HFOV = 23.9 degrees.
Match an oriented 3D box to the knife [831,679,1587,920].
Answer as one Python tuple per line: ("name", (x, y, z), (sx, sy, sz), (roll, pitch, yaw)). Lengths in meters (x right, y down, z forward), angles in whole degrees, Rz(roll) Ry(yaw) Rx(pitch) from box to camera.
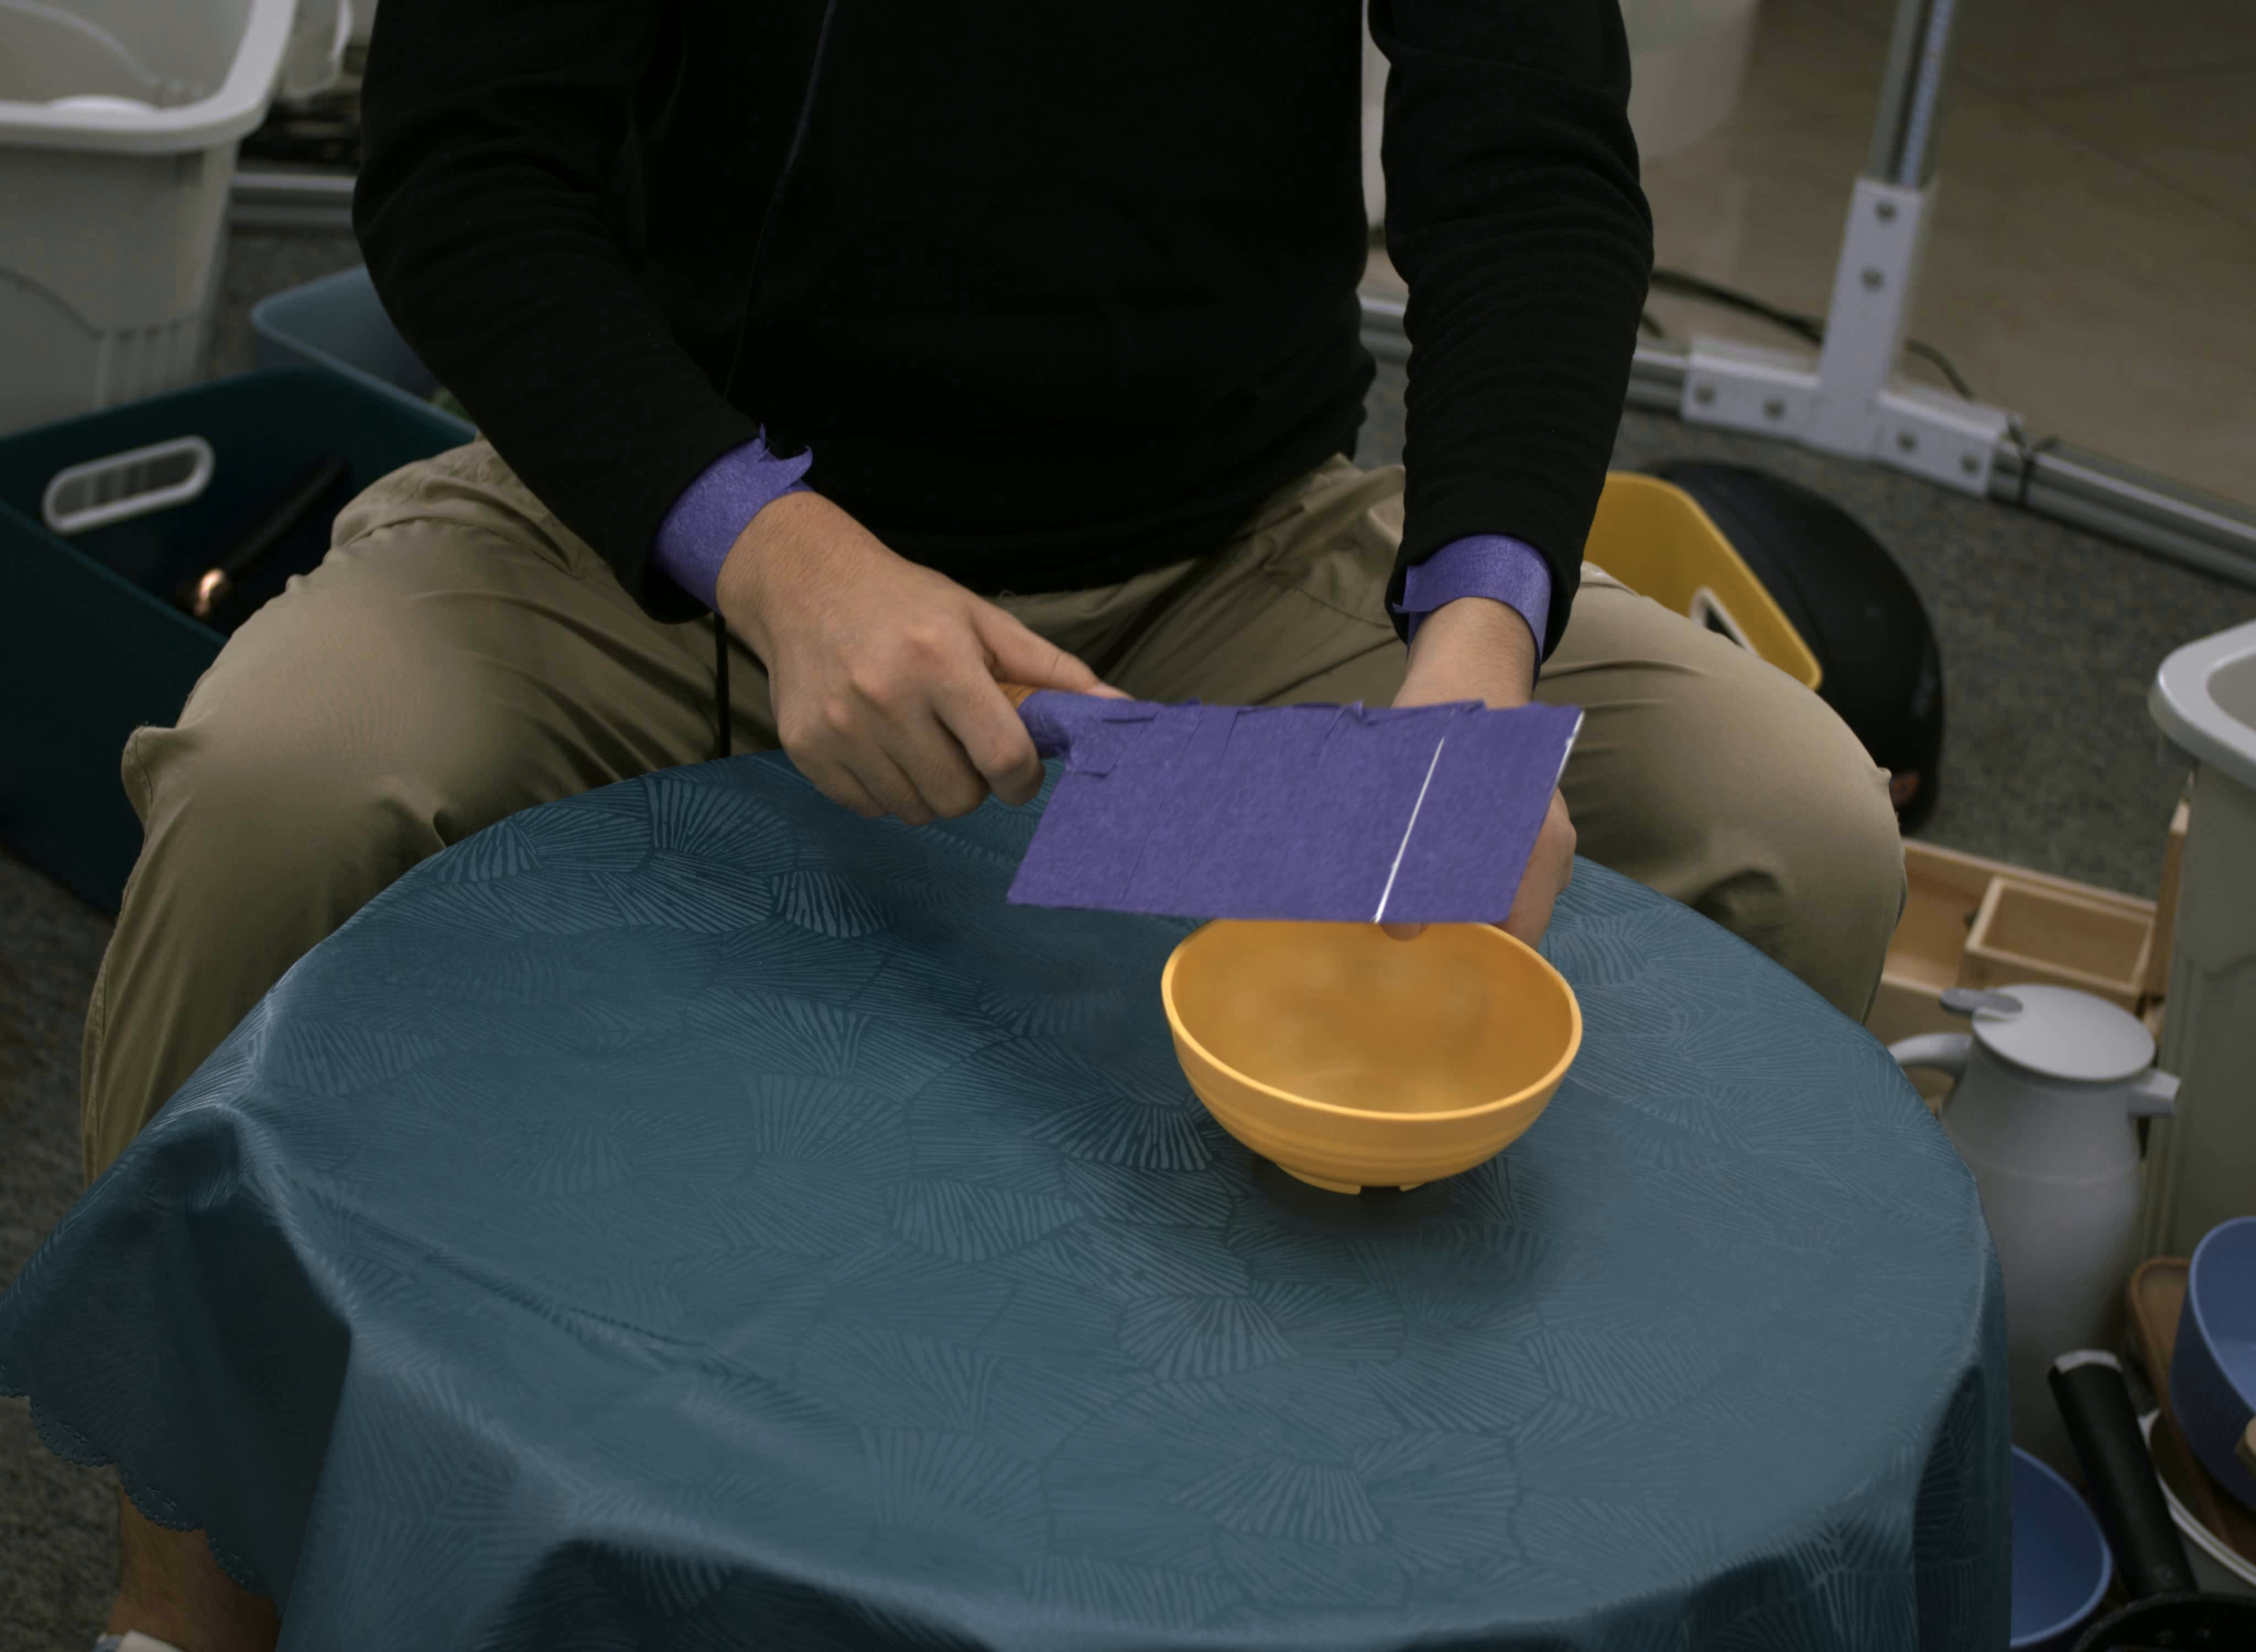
("knife", (0.012, -0.010, 1.864), (0.316, 0.032, 0.104), (-1, 52, 37))

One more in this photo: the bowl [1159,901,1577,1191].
("bowl", (0.079, 0.083, 1.832), (0.145, 0.060, 0.146), (5, 30, -3))
